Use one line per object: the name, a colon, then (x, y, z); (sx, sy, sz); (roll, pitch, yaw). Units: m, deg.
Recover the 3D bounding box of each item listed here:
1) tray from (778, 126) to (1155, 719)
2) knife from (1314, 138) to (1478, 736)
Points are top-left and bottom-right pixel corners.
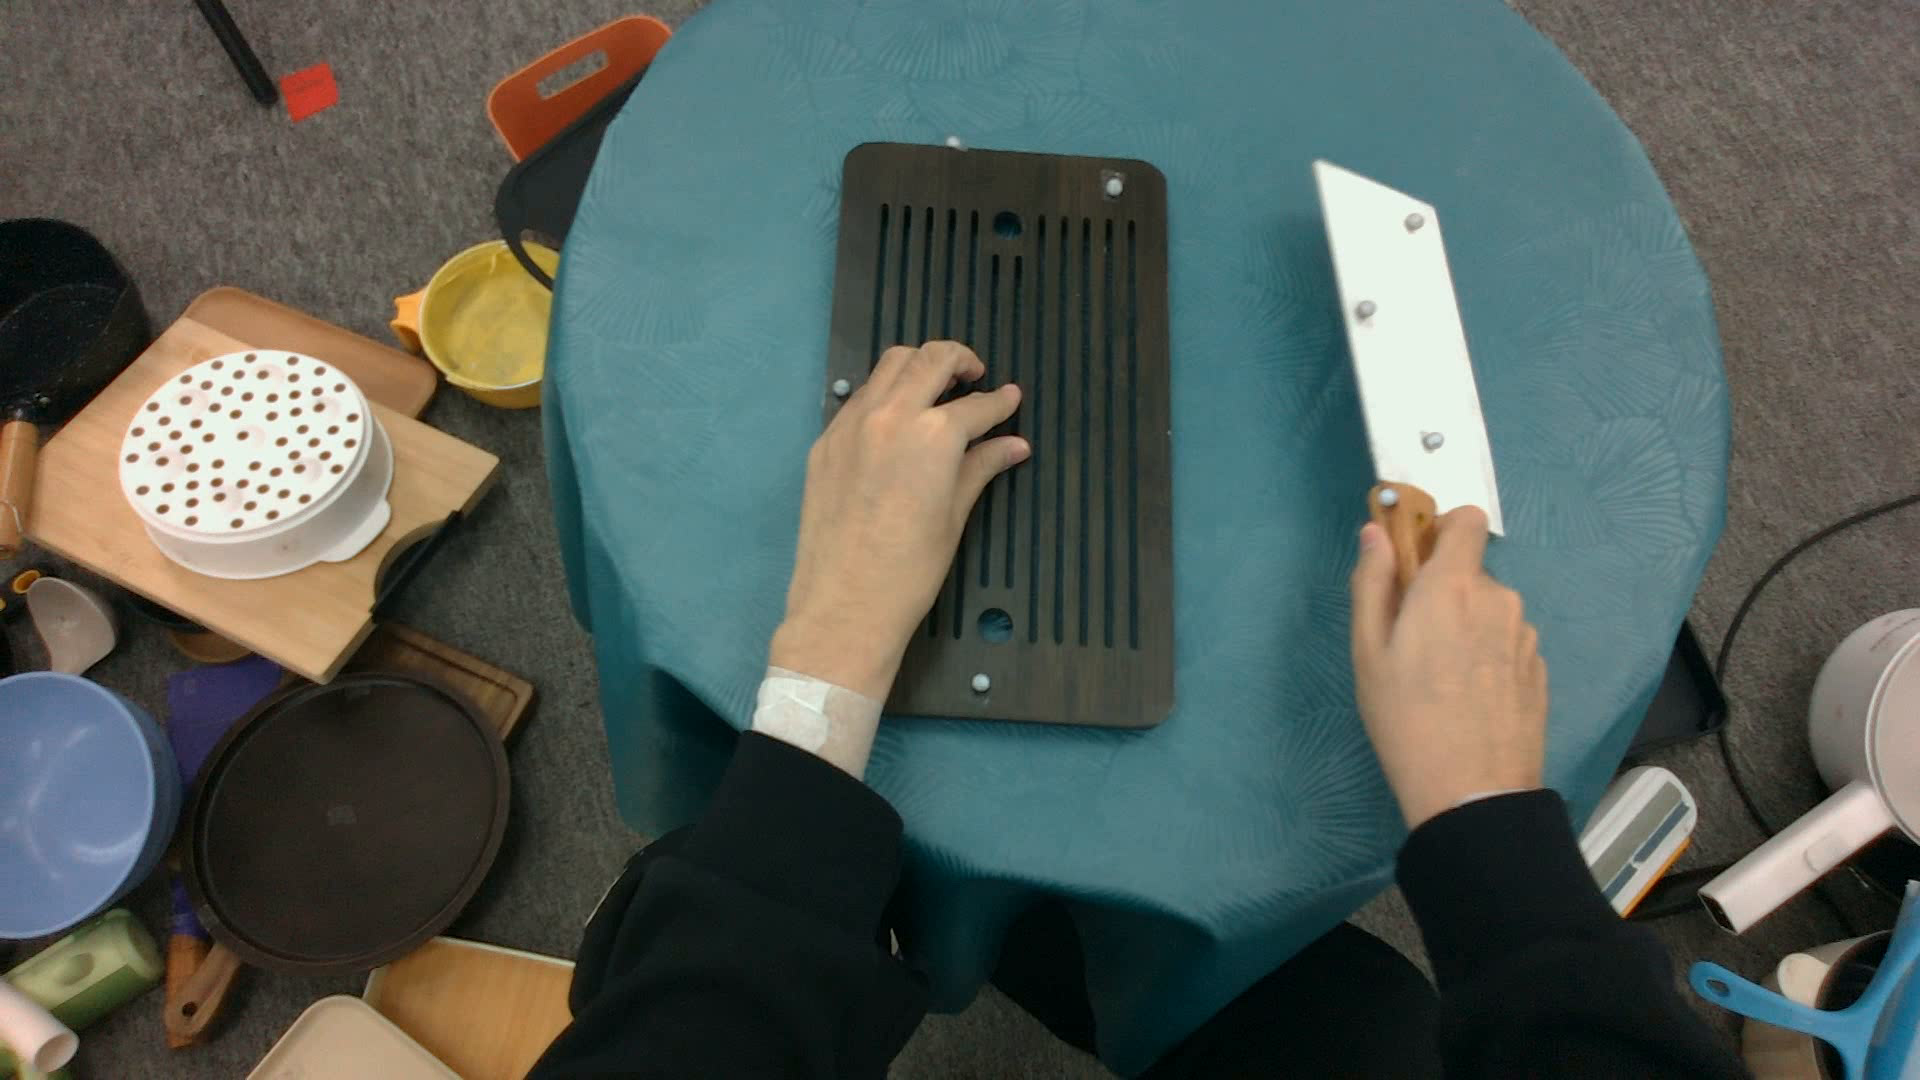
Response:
tray: (0.009, -0.066, 0.670); (0.170, 0.018, 0.307); (4, 69, -3)
knife: (0.215, -0.054, 0.655); (0.093, 0.021, 0.306); (15, 62, -38)
